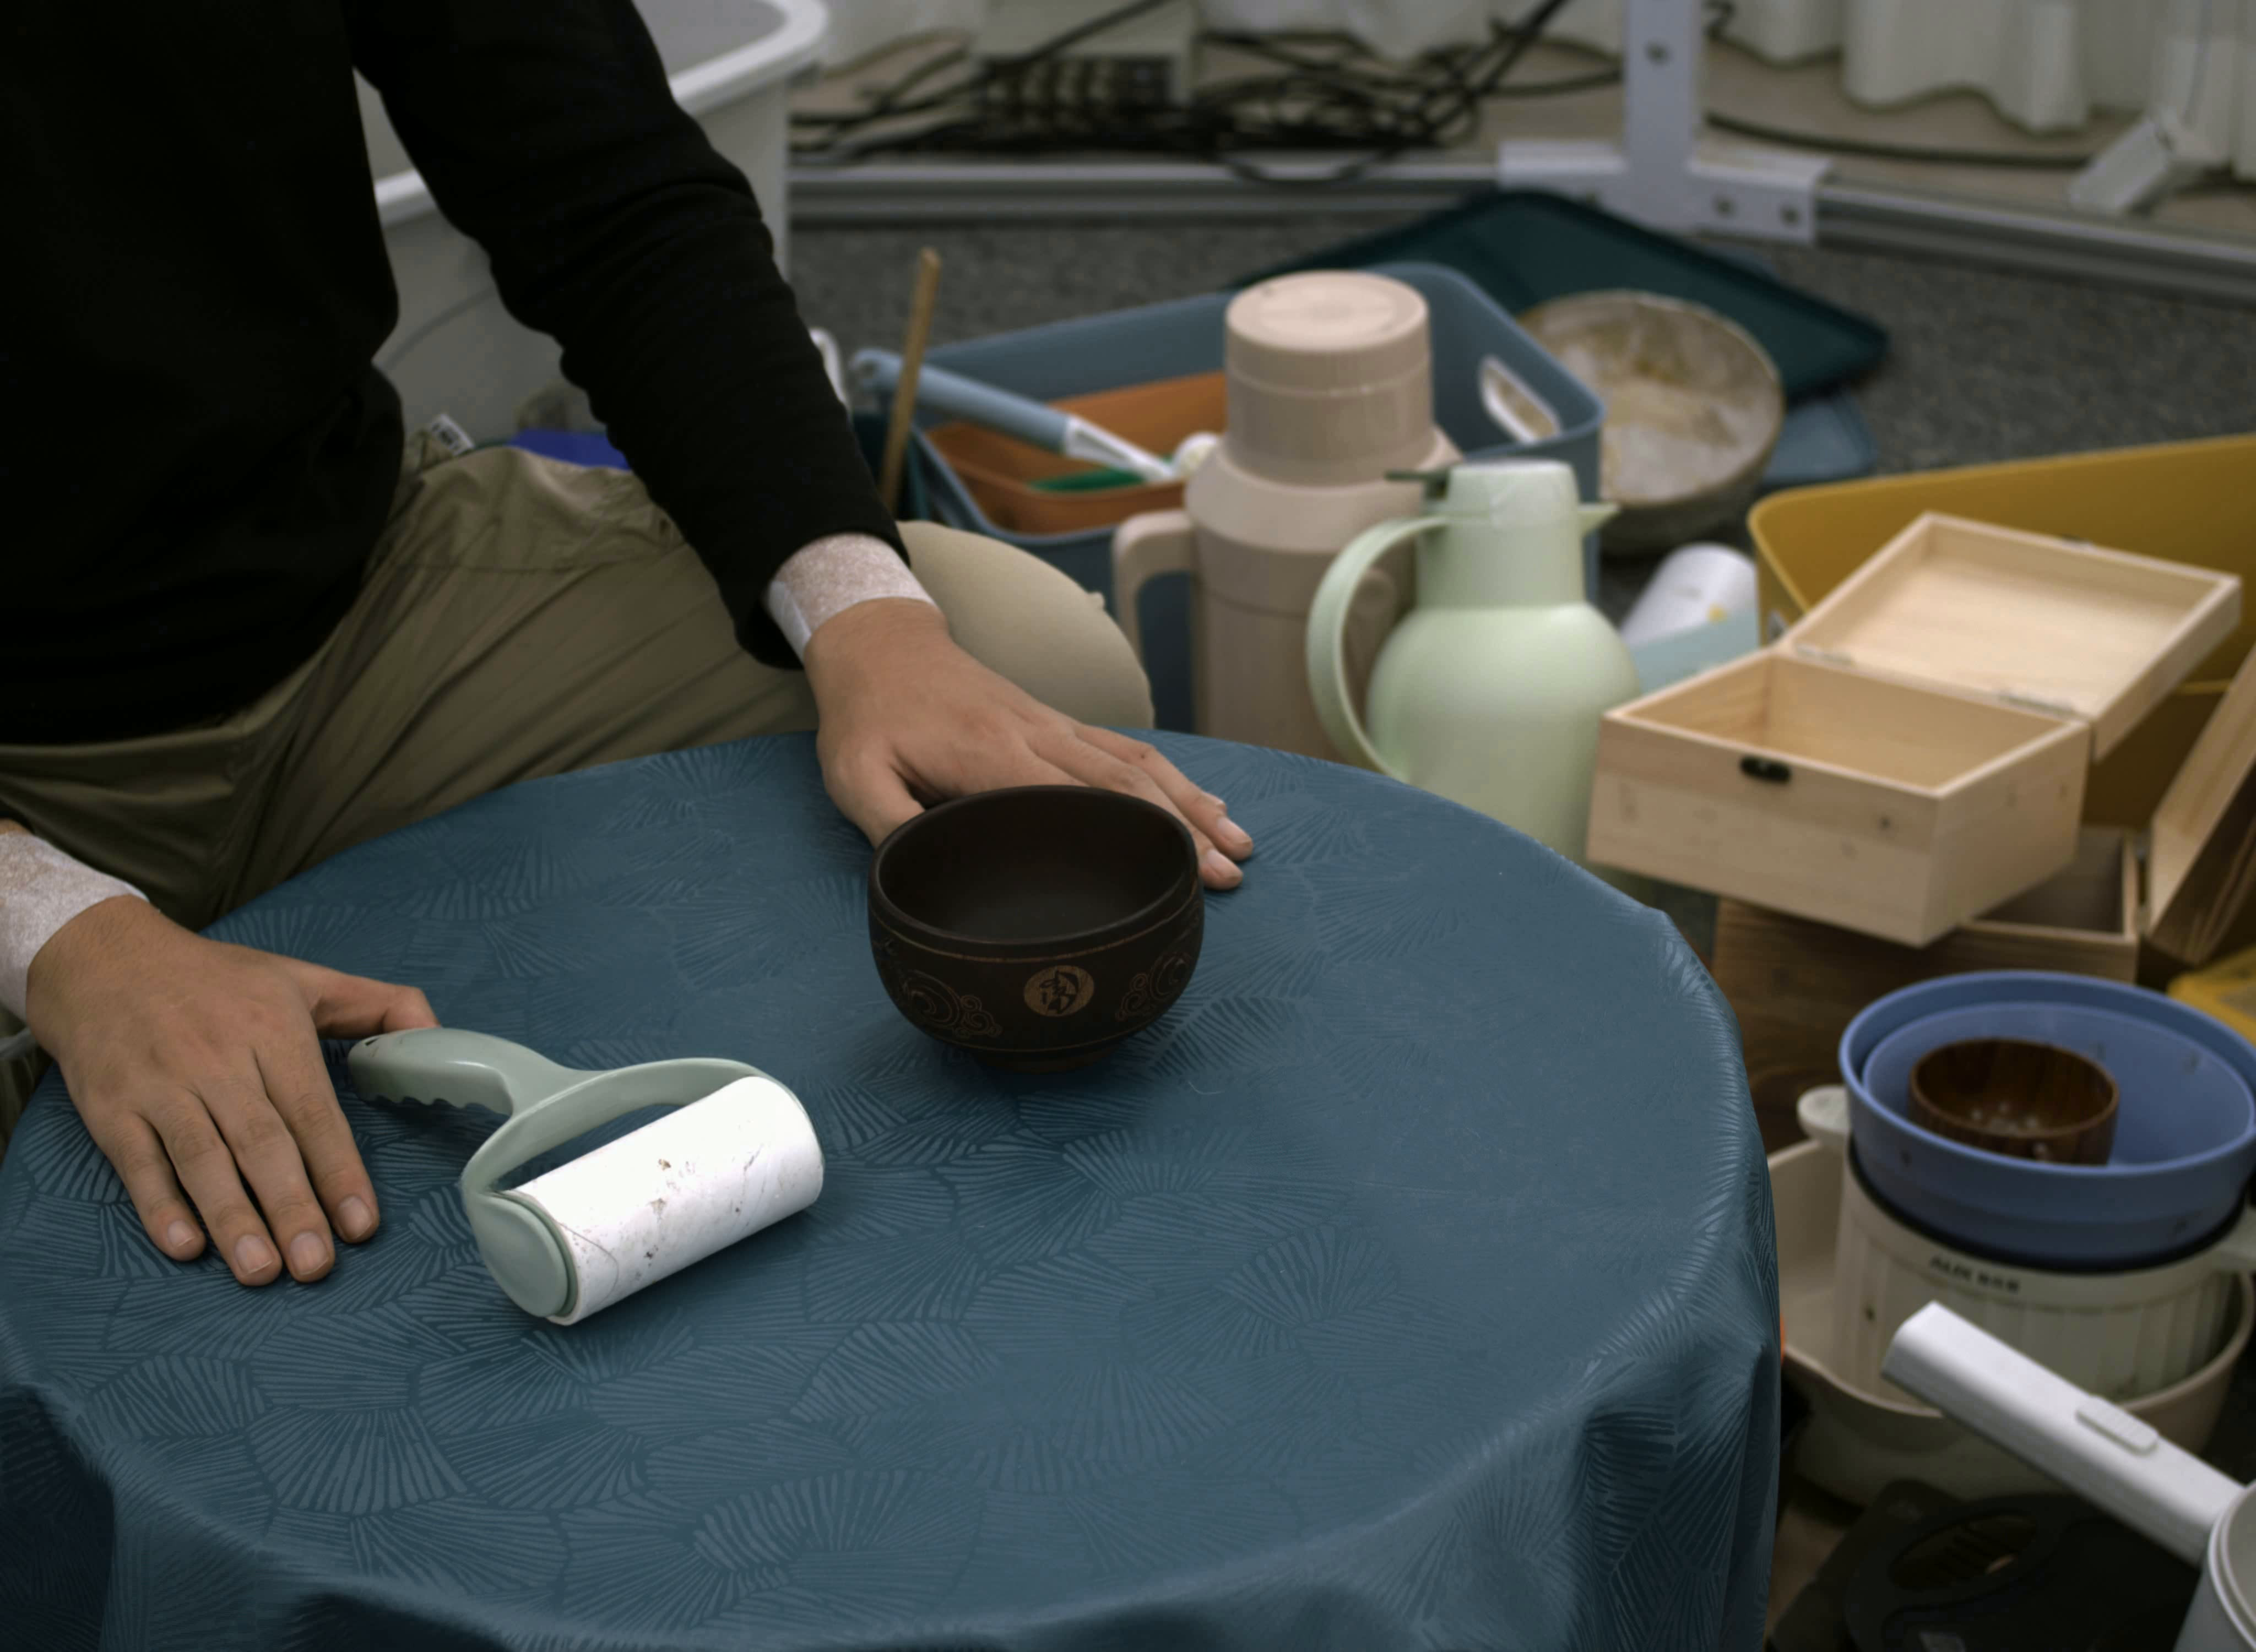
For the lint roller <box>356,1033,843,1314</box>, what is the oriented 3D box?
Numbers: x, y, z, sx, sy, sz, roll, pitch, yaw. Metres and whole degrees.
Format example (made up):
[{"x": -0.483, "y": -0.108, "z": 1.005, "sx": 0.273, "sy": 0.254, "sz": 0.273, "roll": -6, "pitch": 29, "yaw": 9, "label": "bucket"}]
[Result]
[{"x": -0.195, "y": 0.097, "z": 1.880, "sx": 0.118, "sy": 0.048, "sz": 0.197, "roll": -26, "pitch": 34, "yaw": -35, "label": "lint roller"}]

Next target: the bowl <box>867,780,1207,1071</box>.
[{"x": -0.030, "y": 0.041, "z": 1.943, "sx": 0.117, "sy": 0.069, "sz": 0.120, "roll": -3, "pitch": 27, "yaw": 2, "label": "bowl"}]
